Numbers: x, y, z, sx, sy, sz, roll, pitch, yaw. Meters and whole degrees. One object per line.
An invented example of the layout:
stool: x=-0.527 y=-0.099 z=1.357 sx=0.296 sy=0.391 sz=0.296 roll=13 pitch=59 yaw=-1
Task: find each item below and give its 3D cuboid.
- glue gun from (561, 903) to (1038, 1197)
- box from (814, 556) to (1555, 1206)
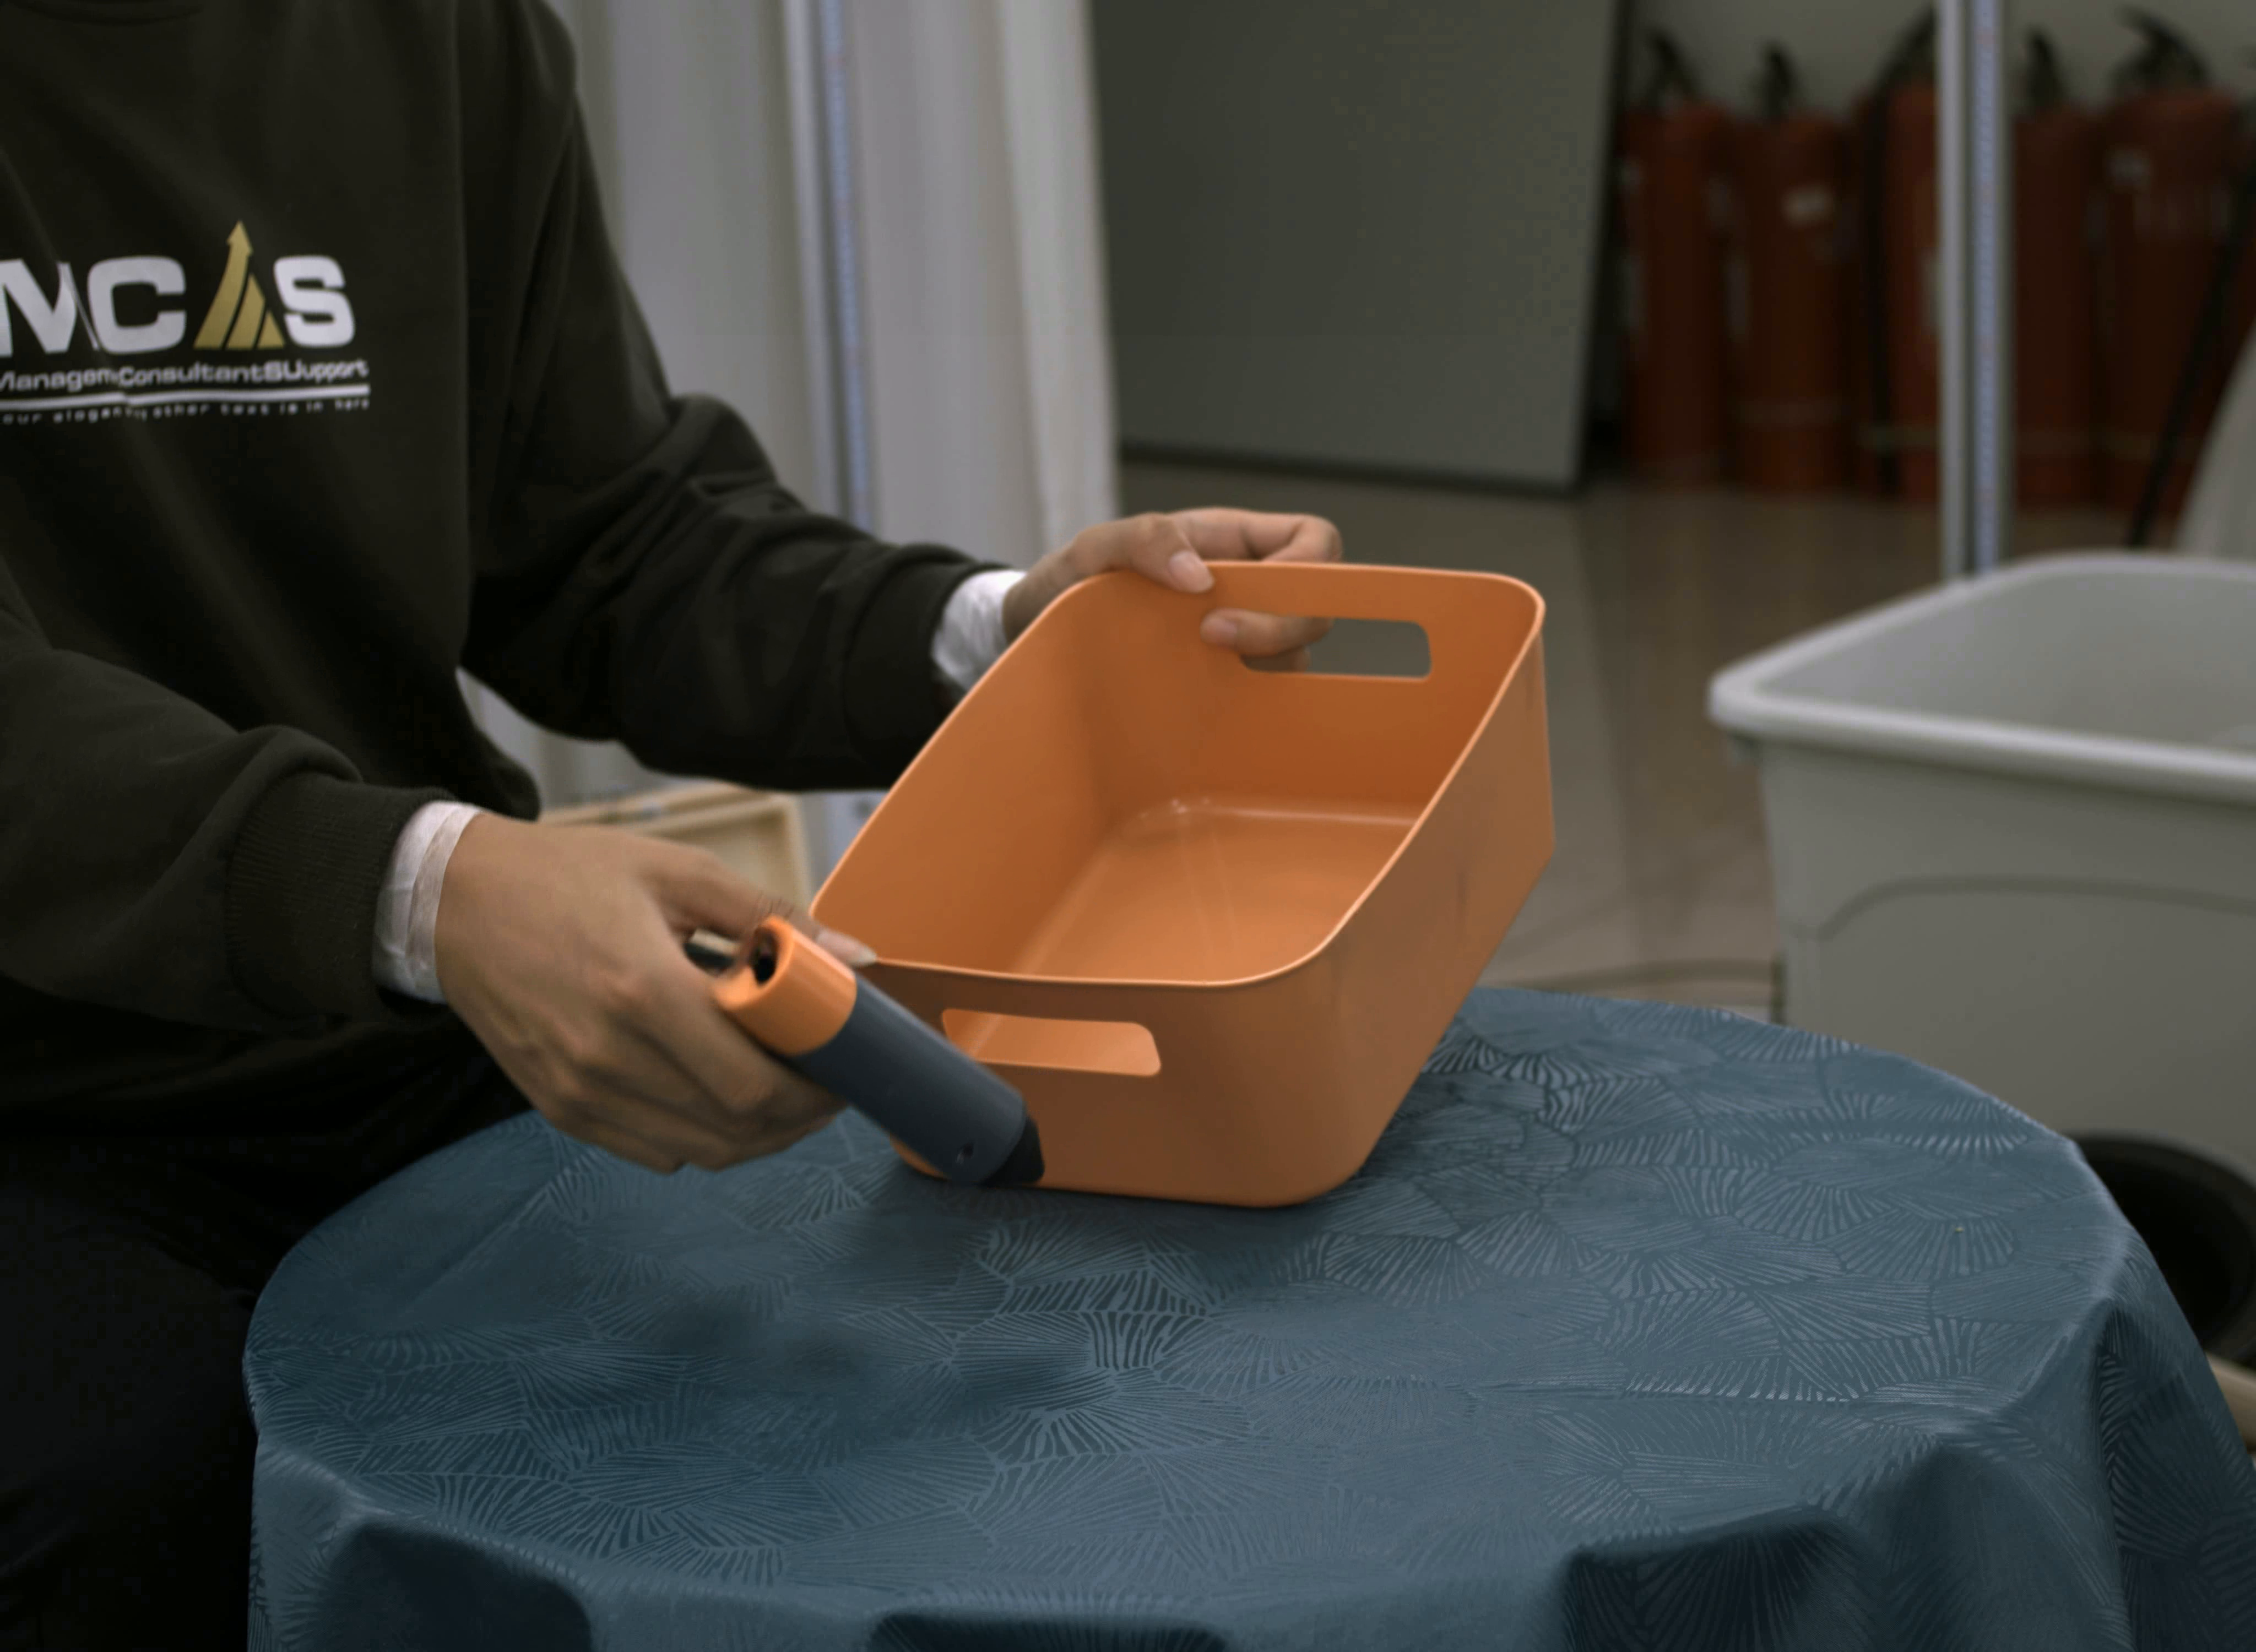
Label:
glue gun: x=-0.100 y=0.068 z=1.655 sx=0.141 sy=0.117 sz=0.041 roll=9 pitch=58 yaw=45
box: x=0.028 y=0.019 z=1.845 sx=0.200 sy=0.103 sz=0.271 roll=2 pitch=33 yaw=26
